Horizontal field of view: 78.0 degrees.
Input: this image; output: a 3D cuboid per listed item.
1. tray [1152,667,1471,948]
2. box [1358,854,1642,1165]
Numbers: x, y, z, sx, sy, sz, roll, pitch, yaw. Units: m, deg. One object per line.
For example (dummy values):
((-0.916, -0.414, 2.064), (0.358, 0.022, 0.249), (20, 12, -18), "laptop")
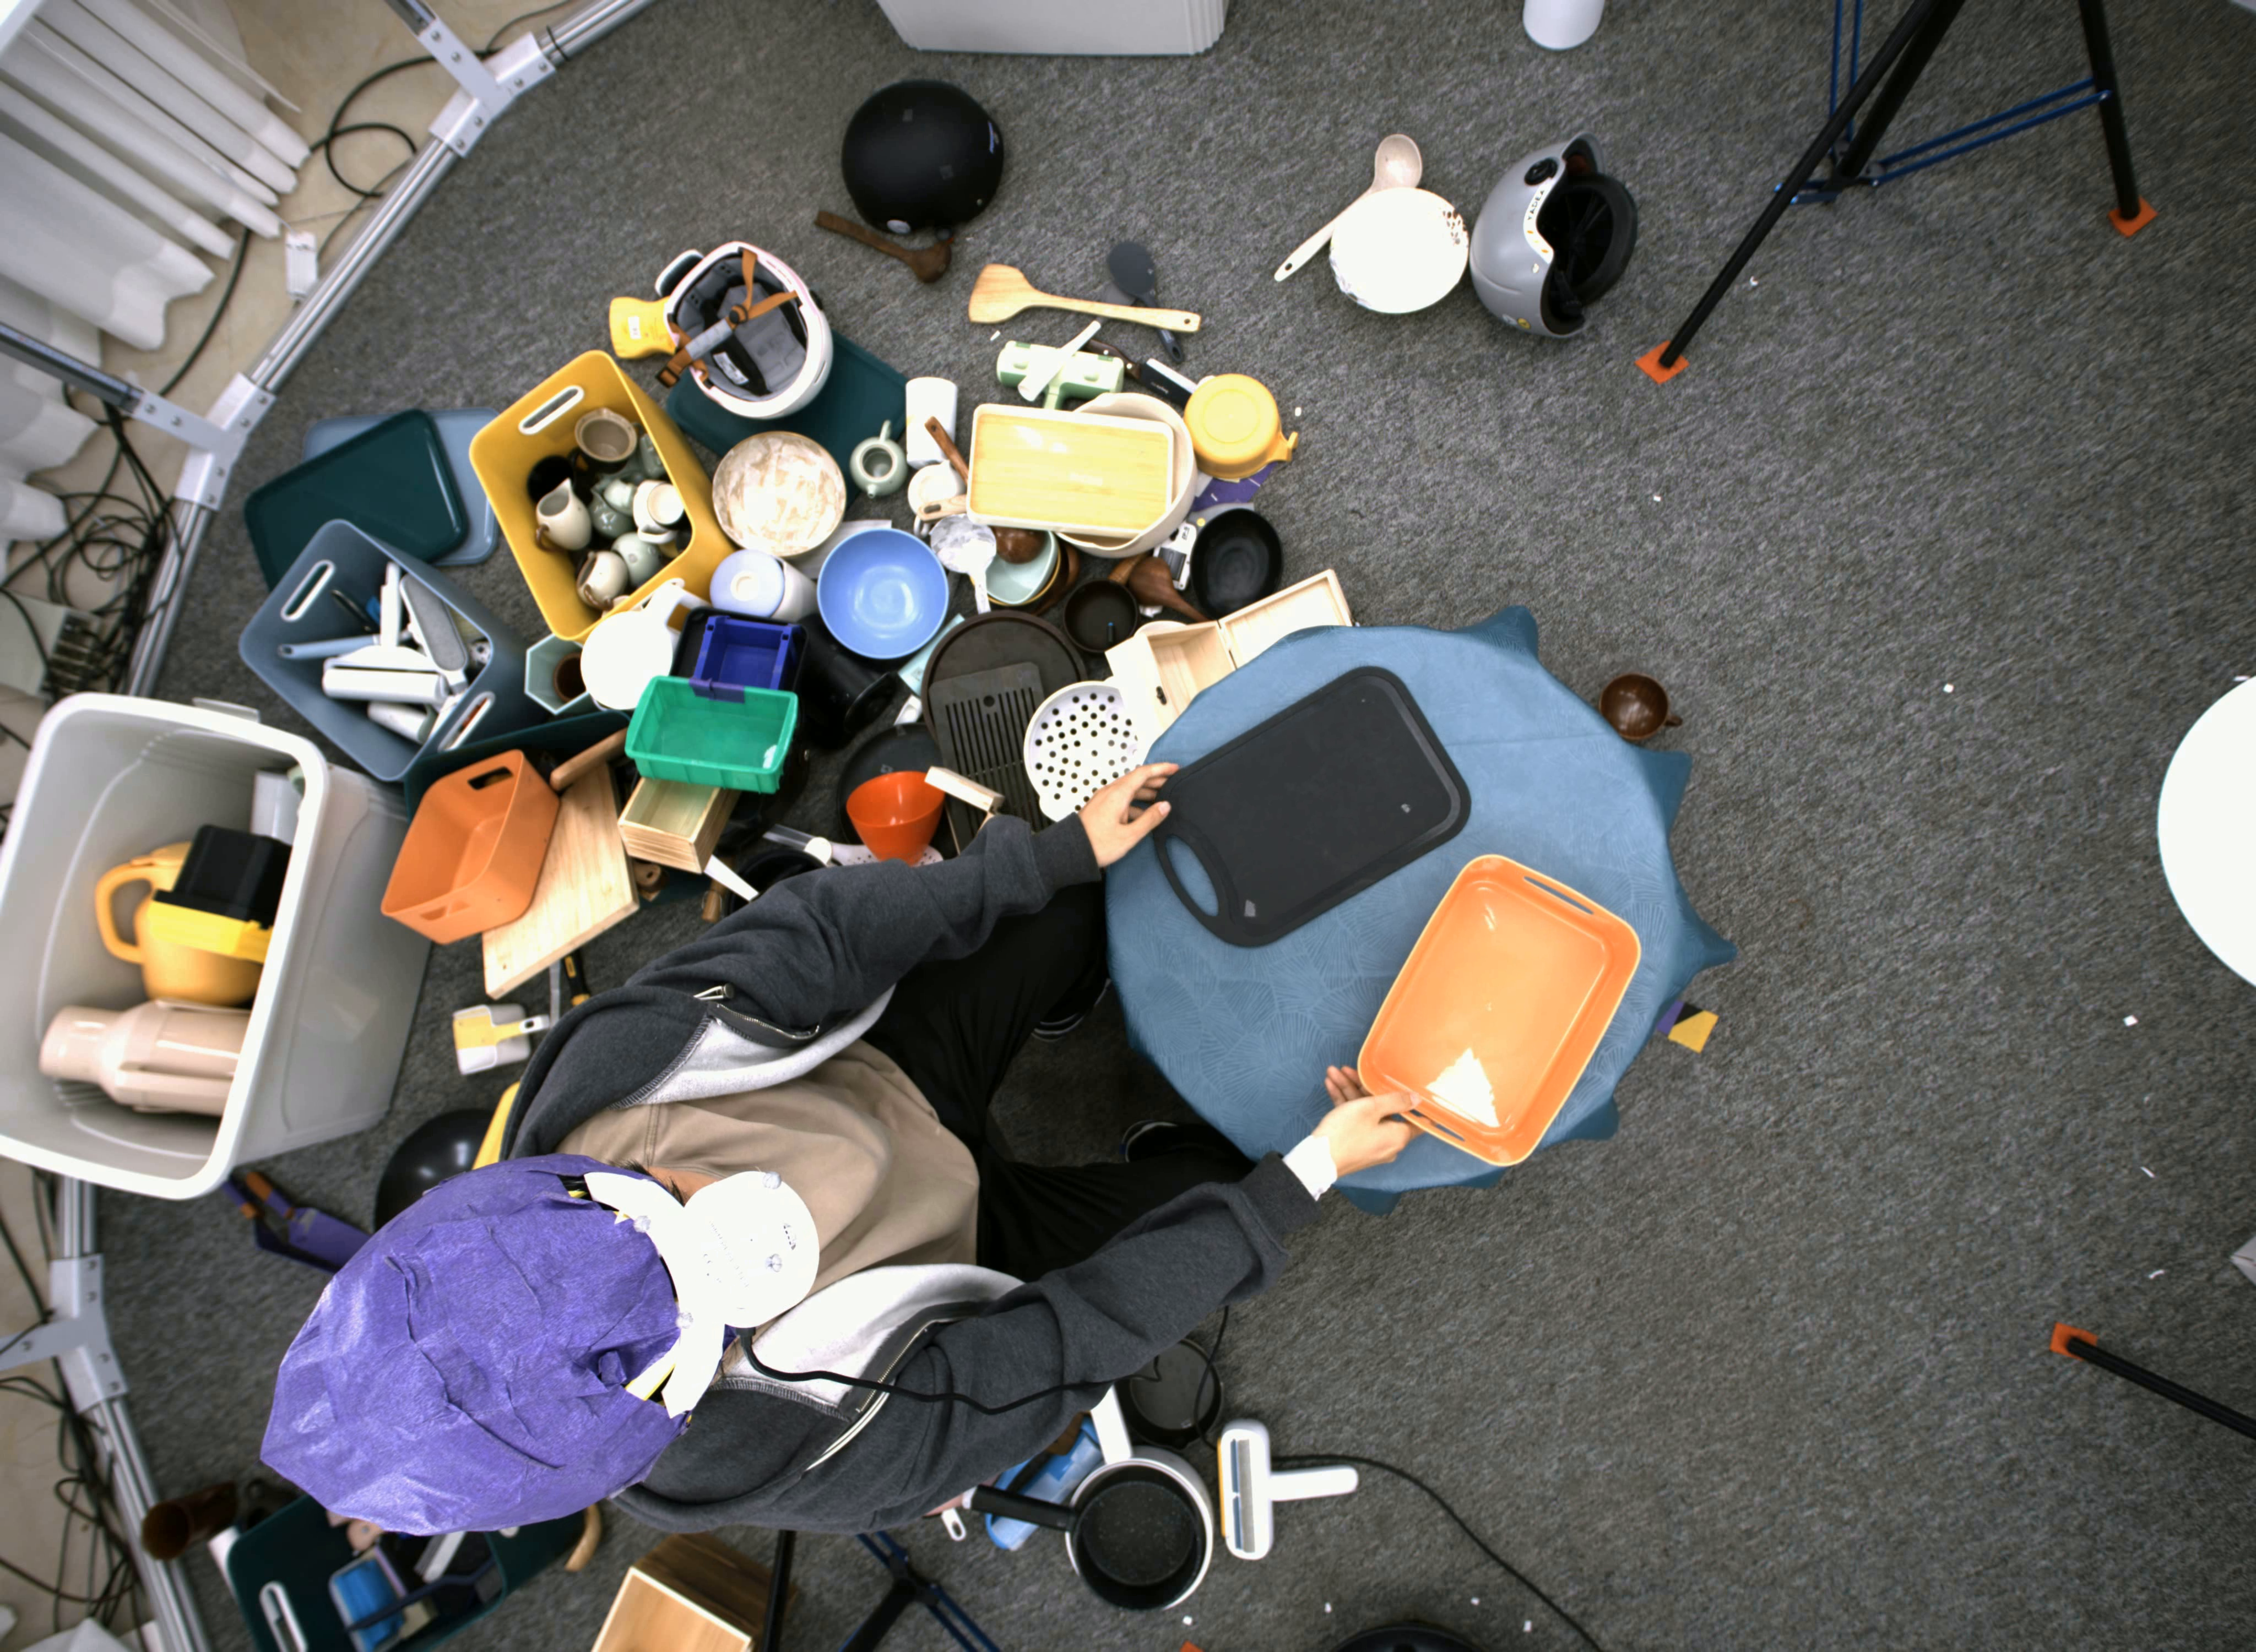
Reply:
((0.188, -0.016, 1.471), (0.327, 0.010, 0.210), (-31, 84, 6), "tray")
((0.365, 0.179, 1.383), (0.199, 0.102, 0.273), (29, 92, 10), "box")
